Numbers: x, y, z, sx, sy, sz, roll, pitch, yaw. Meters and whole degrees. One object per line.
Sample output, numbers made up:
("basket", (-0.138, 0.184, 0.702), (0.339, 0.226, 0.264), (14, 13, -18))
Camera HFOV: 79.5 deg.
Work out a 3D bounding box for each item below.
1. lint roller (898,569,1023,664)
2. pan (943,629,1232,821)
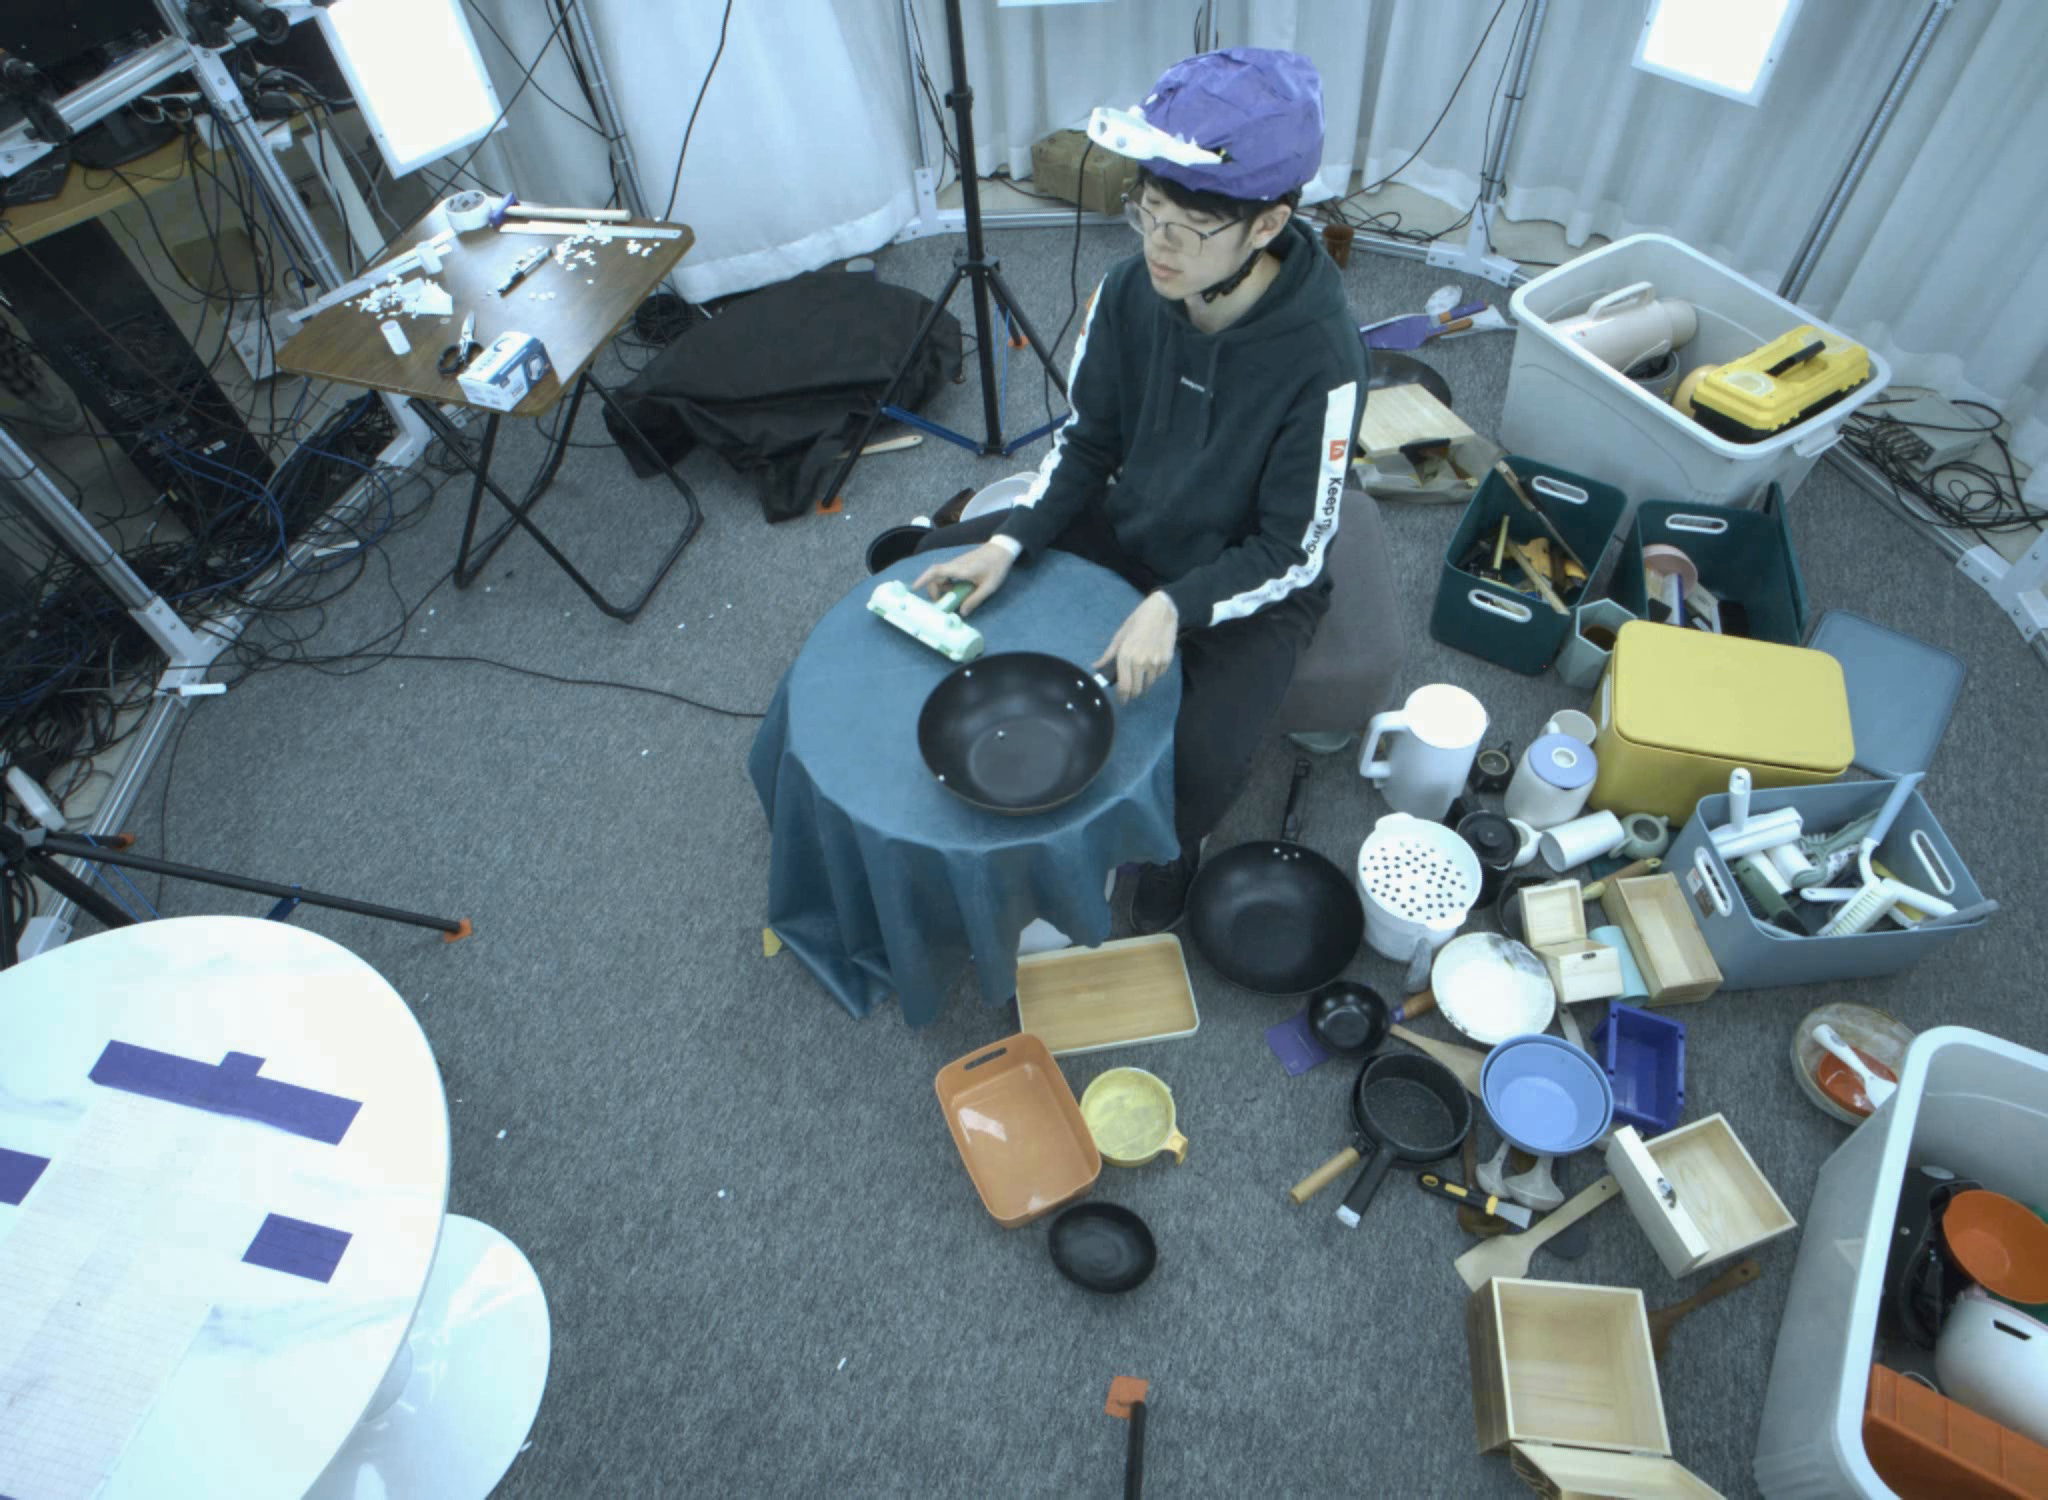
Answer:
("lint roller", (-0.069, -0.239, 1.909), (0.195, 0.083, 0.184), (34, 68, 24))
("pan", (0.104, -0.049, 1.763), (0.467, 0.088, 0.283), (-30, 59, -19))
